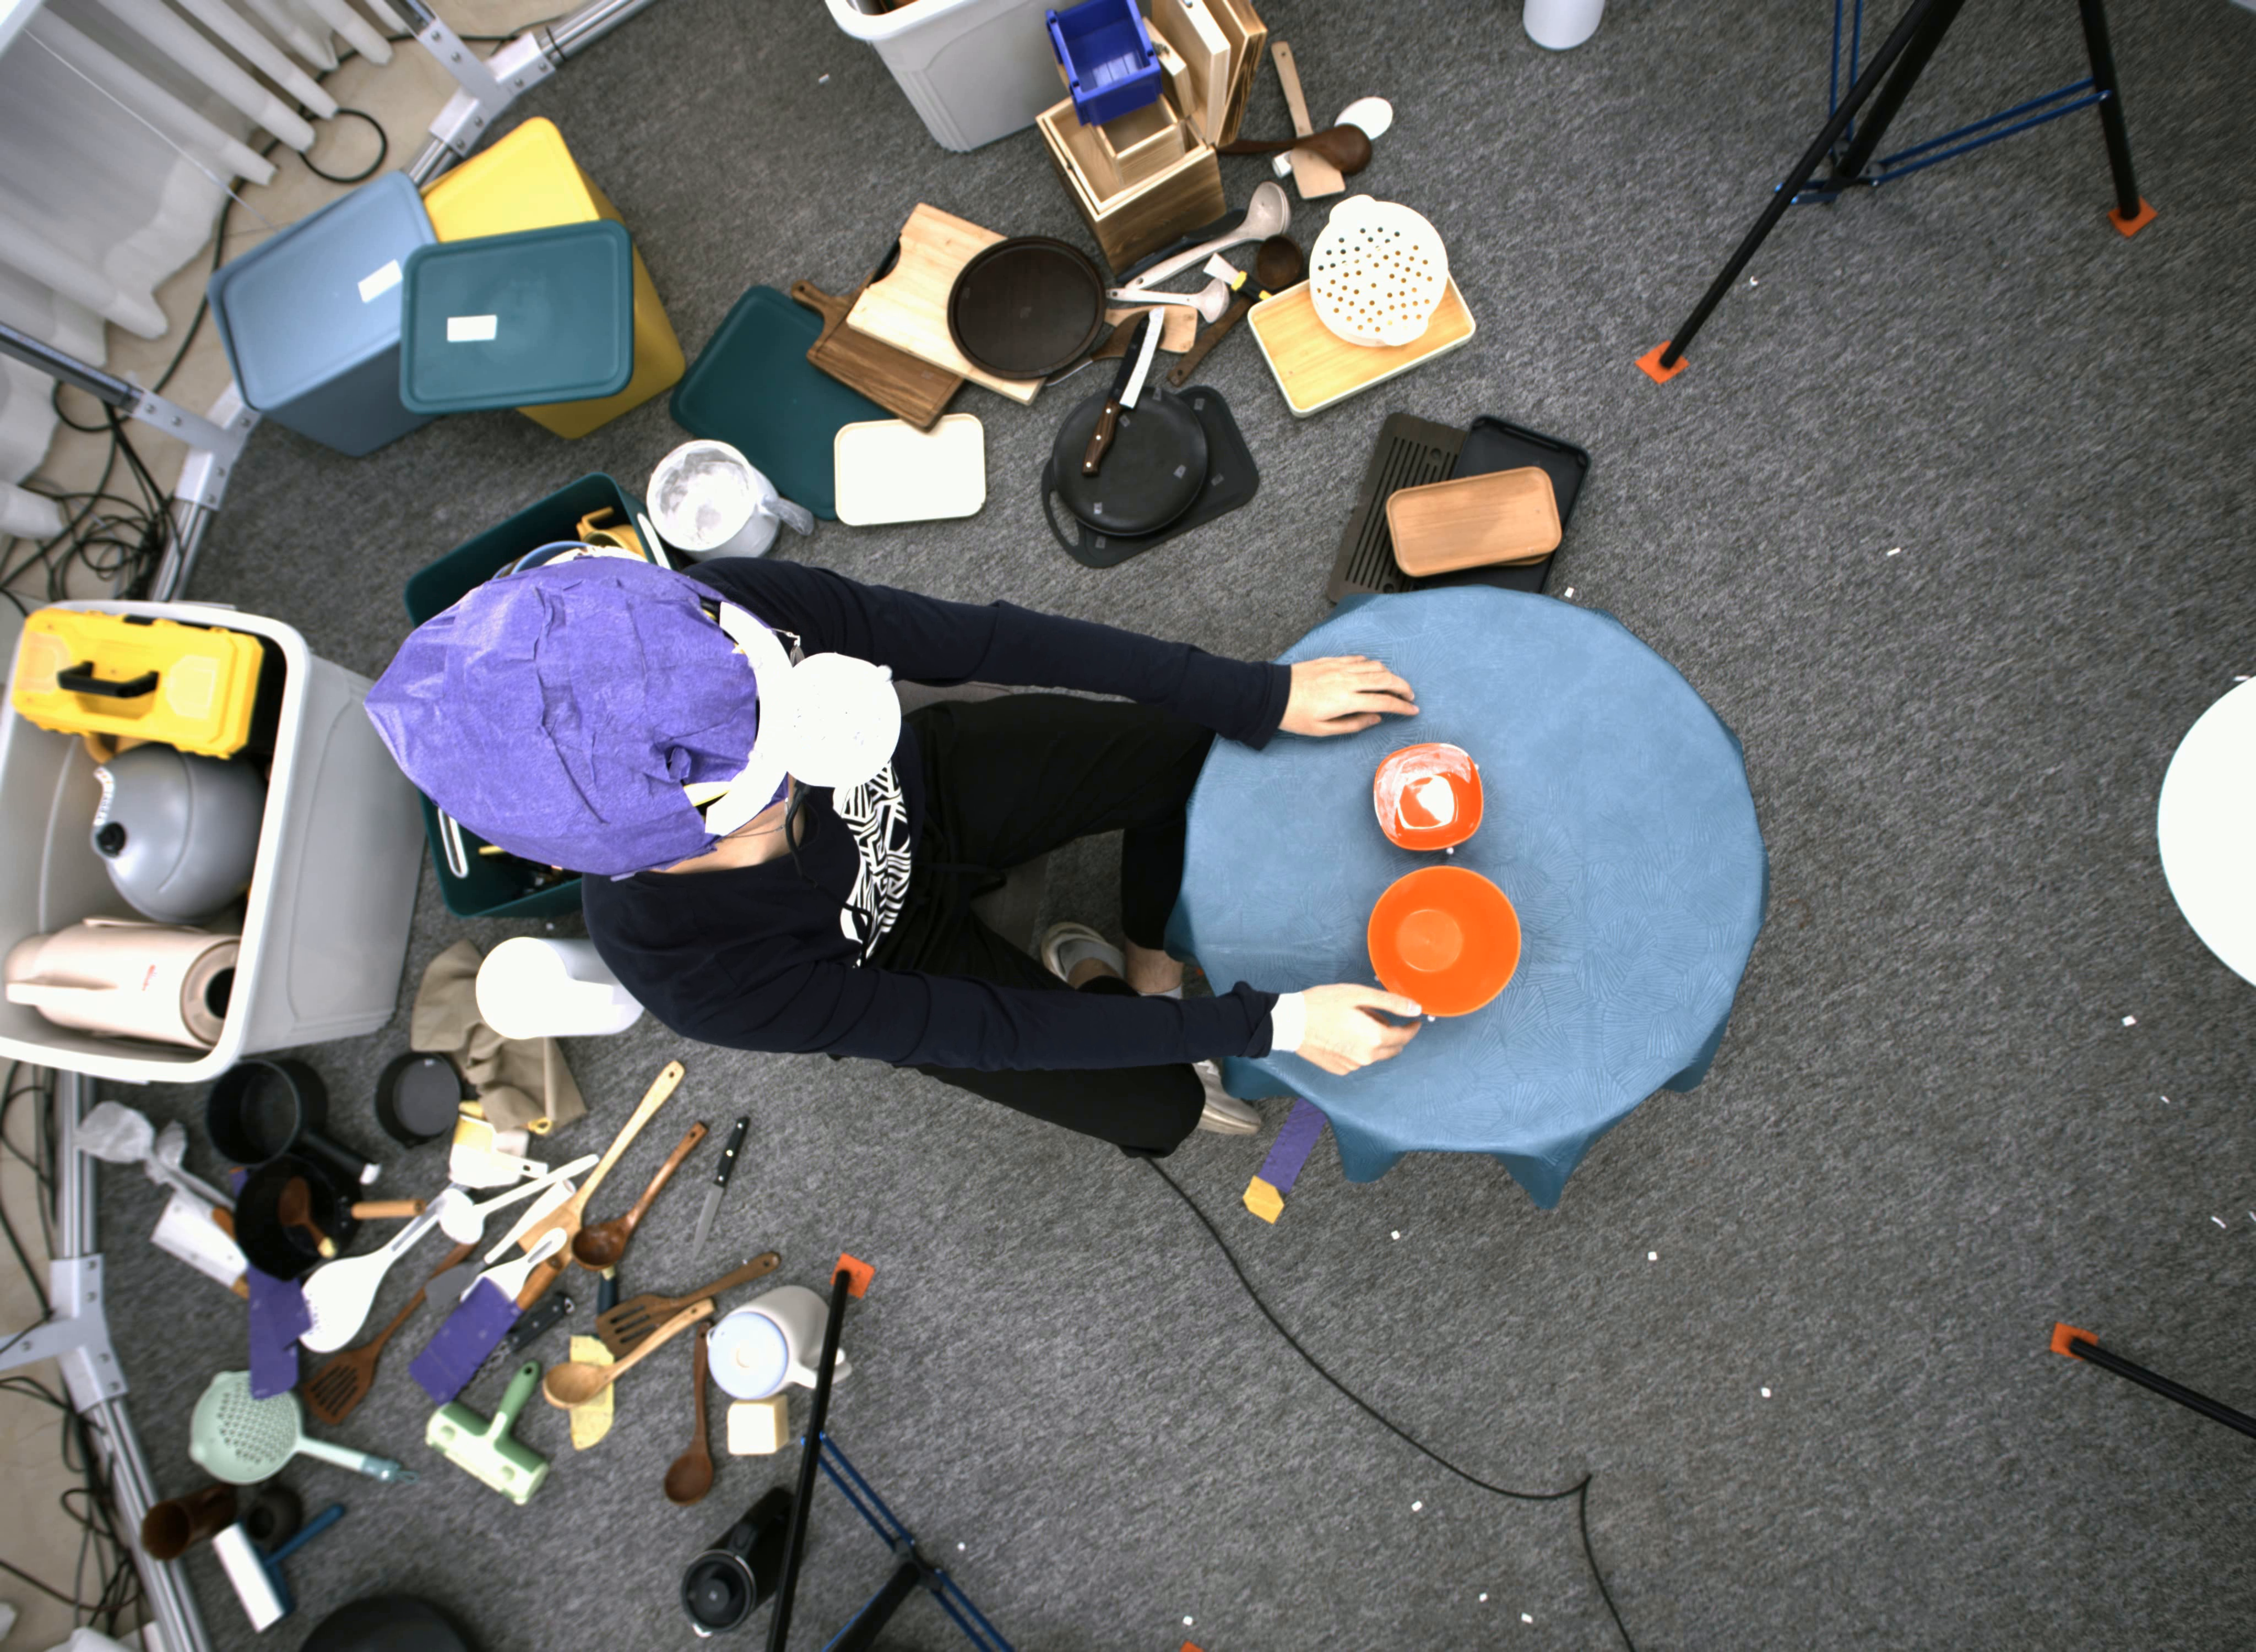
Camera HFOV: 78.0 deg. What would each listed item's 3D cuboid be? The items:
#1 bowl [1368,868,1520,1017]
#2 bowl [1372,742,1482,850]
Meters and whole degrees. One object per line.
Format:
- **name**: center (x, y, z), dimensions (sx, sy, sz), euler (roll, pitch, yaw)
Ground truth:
- **bowl**: center (0.318, 0.116, 1.399), dimensions (0.148, 0.104, 0.147), euler (-1, 86, 12)
- **bowl**: center (0.311, -0.030, 1.433), dimensions (0.119, 0.051, 0.118), euler (-1, 88, 12)
